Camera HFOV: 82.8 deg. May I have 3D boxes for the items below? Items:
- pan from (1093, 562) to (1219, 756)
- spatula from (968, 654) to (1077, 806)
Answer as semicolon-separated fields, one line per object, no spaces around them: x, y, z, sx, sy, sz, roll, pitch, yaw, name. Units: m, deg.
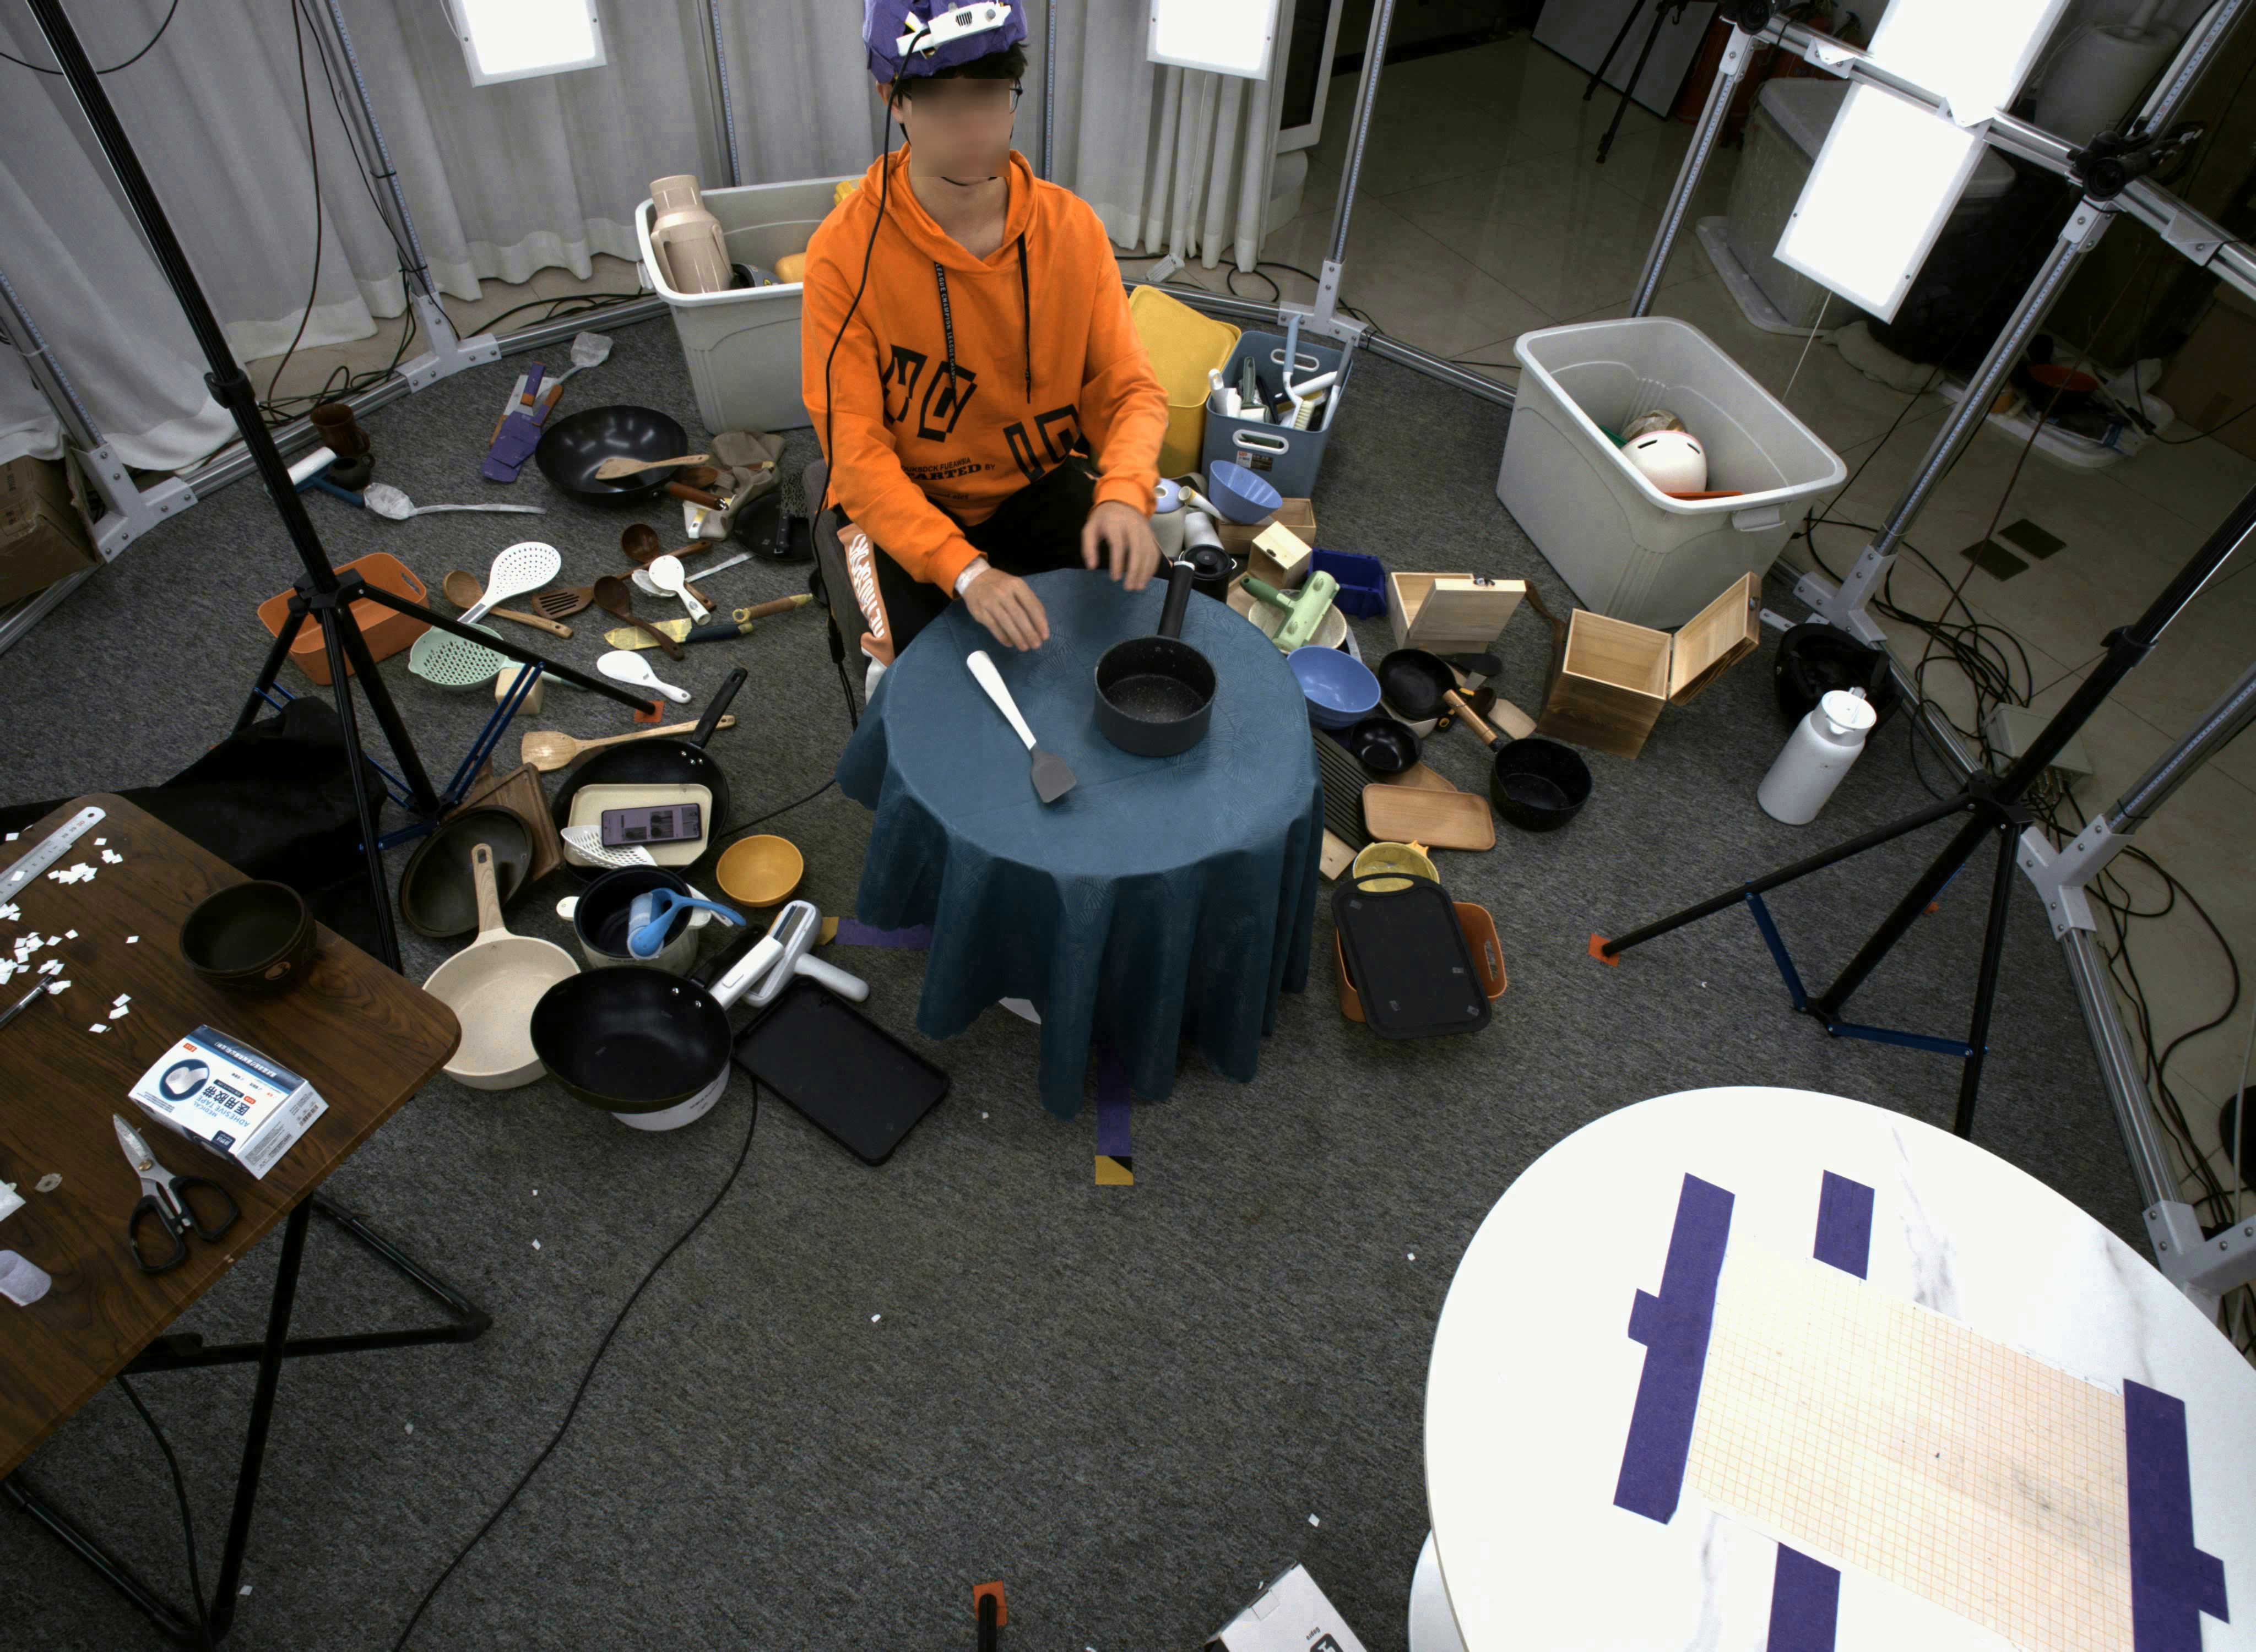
0.054;-0.241;1.827;0.172;0.084;0.336;13;51;6;pan
-0.148;-0.135;1.755;0.059;0.031;0.294;-31;55;-3;spatula
